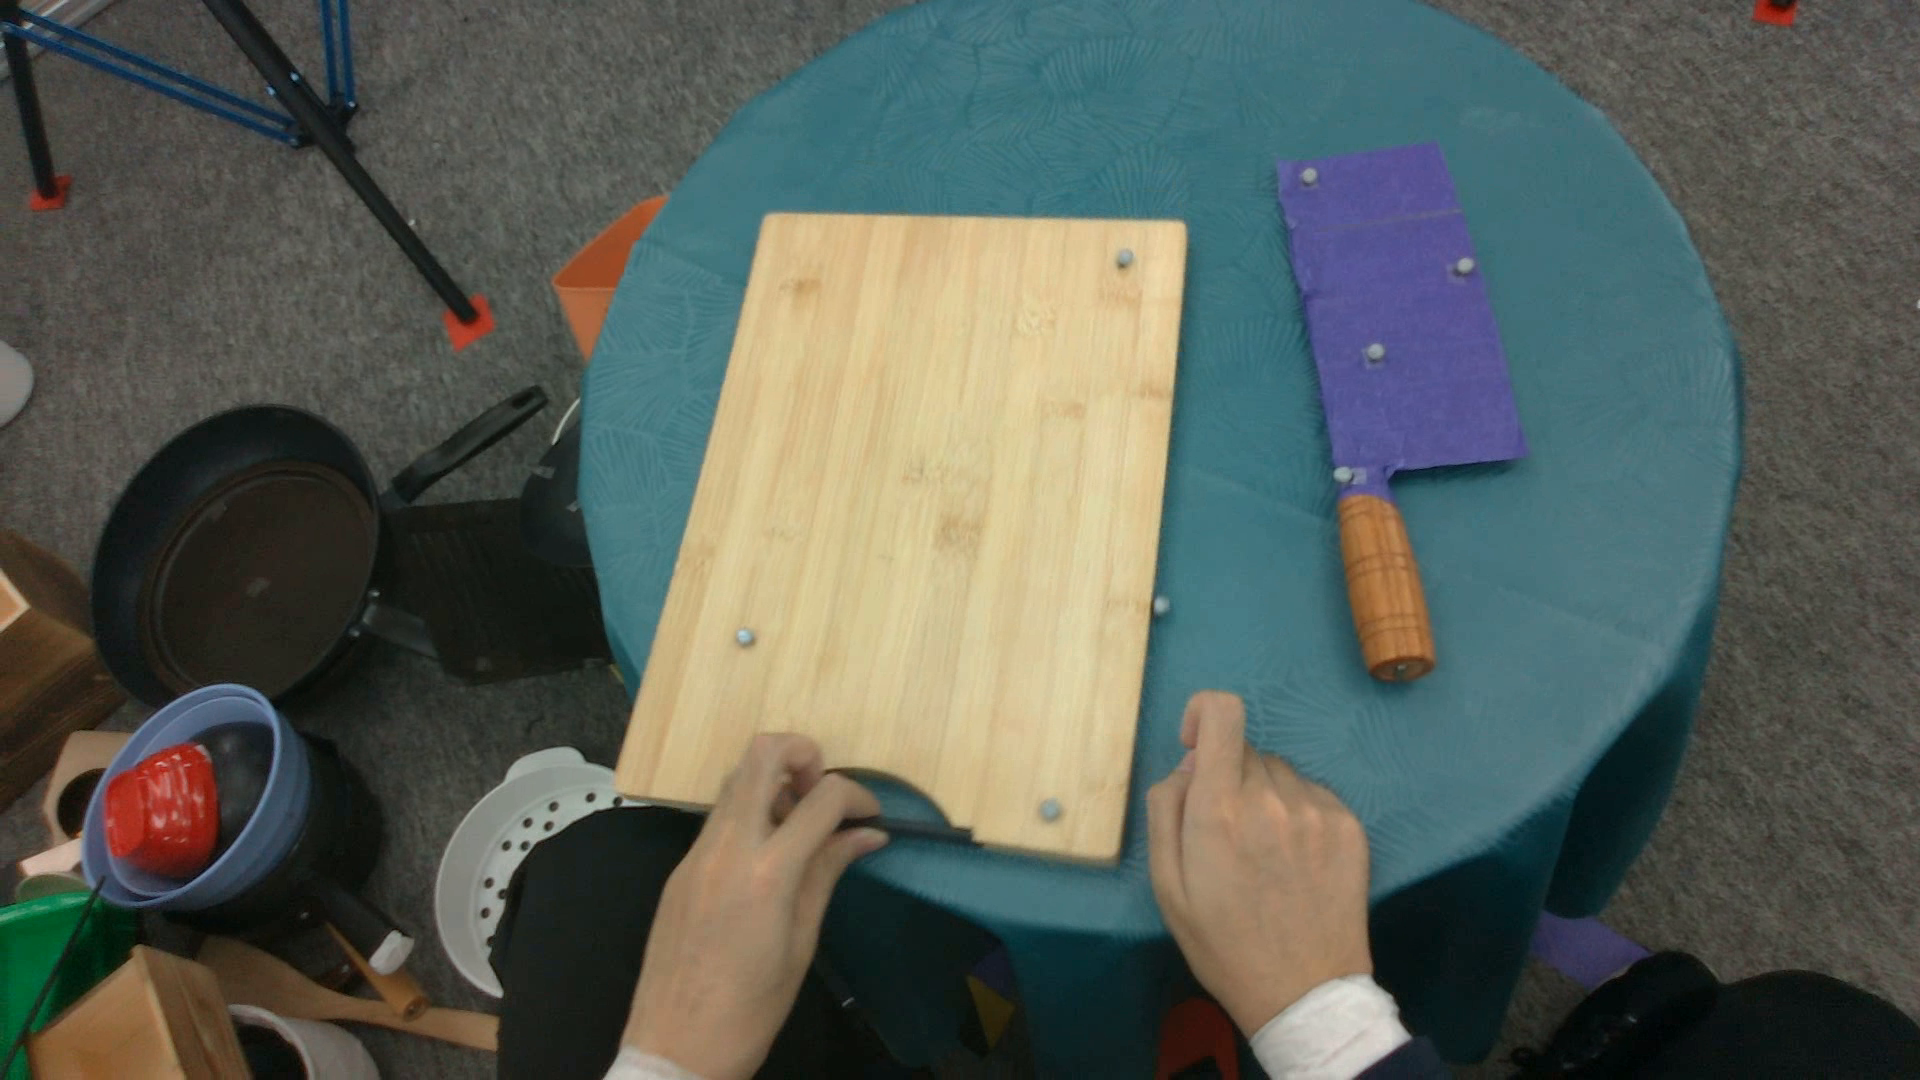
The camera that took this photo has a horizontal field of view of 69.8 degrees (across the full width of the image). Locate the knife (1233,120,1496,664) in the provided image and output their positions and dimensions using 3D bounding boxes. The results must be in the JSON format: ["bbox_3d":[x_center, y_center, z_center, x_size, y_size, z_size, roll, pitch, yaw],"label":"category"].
[{"bbox_3d":[0.212,-0.092,0.690,0.104,0.032,0.316,-7,63,5],"label":"knife"}]

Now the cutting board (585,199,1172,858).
[{"bbox_3d":[-0.030,-0.026,0.698,0.250,0.023,0.350,4,65,10],"label":"cutting board"}]
